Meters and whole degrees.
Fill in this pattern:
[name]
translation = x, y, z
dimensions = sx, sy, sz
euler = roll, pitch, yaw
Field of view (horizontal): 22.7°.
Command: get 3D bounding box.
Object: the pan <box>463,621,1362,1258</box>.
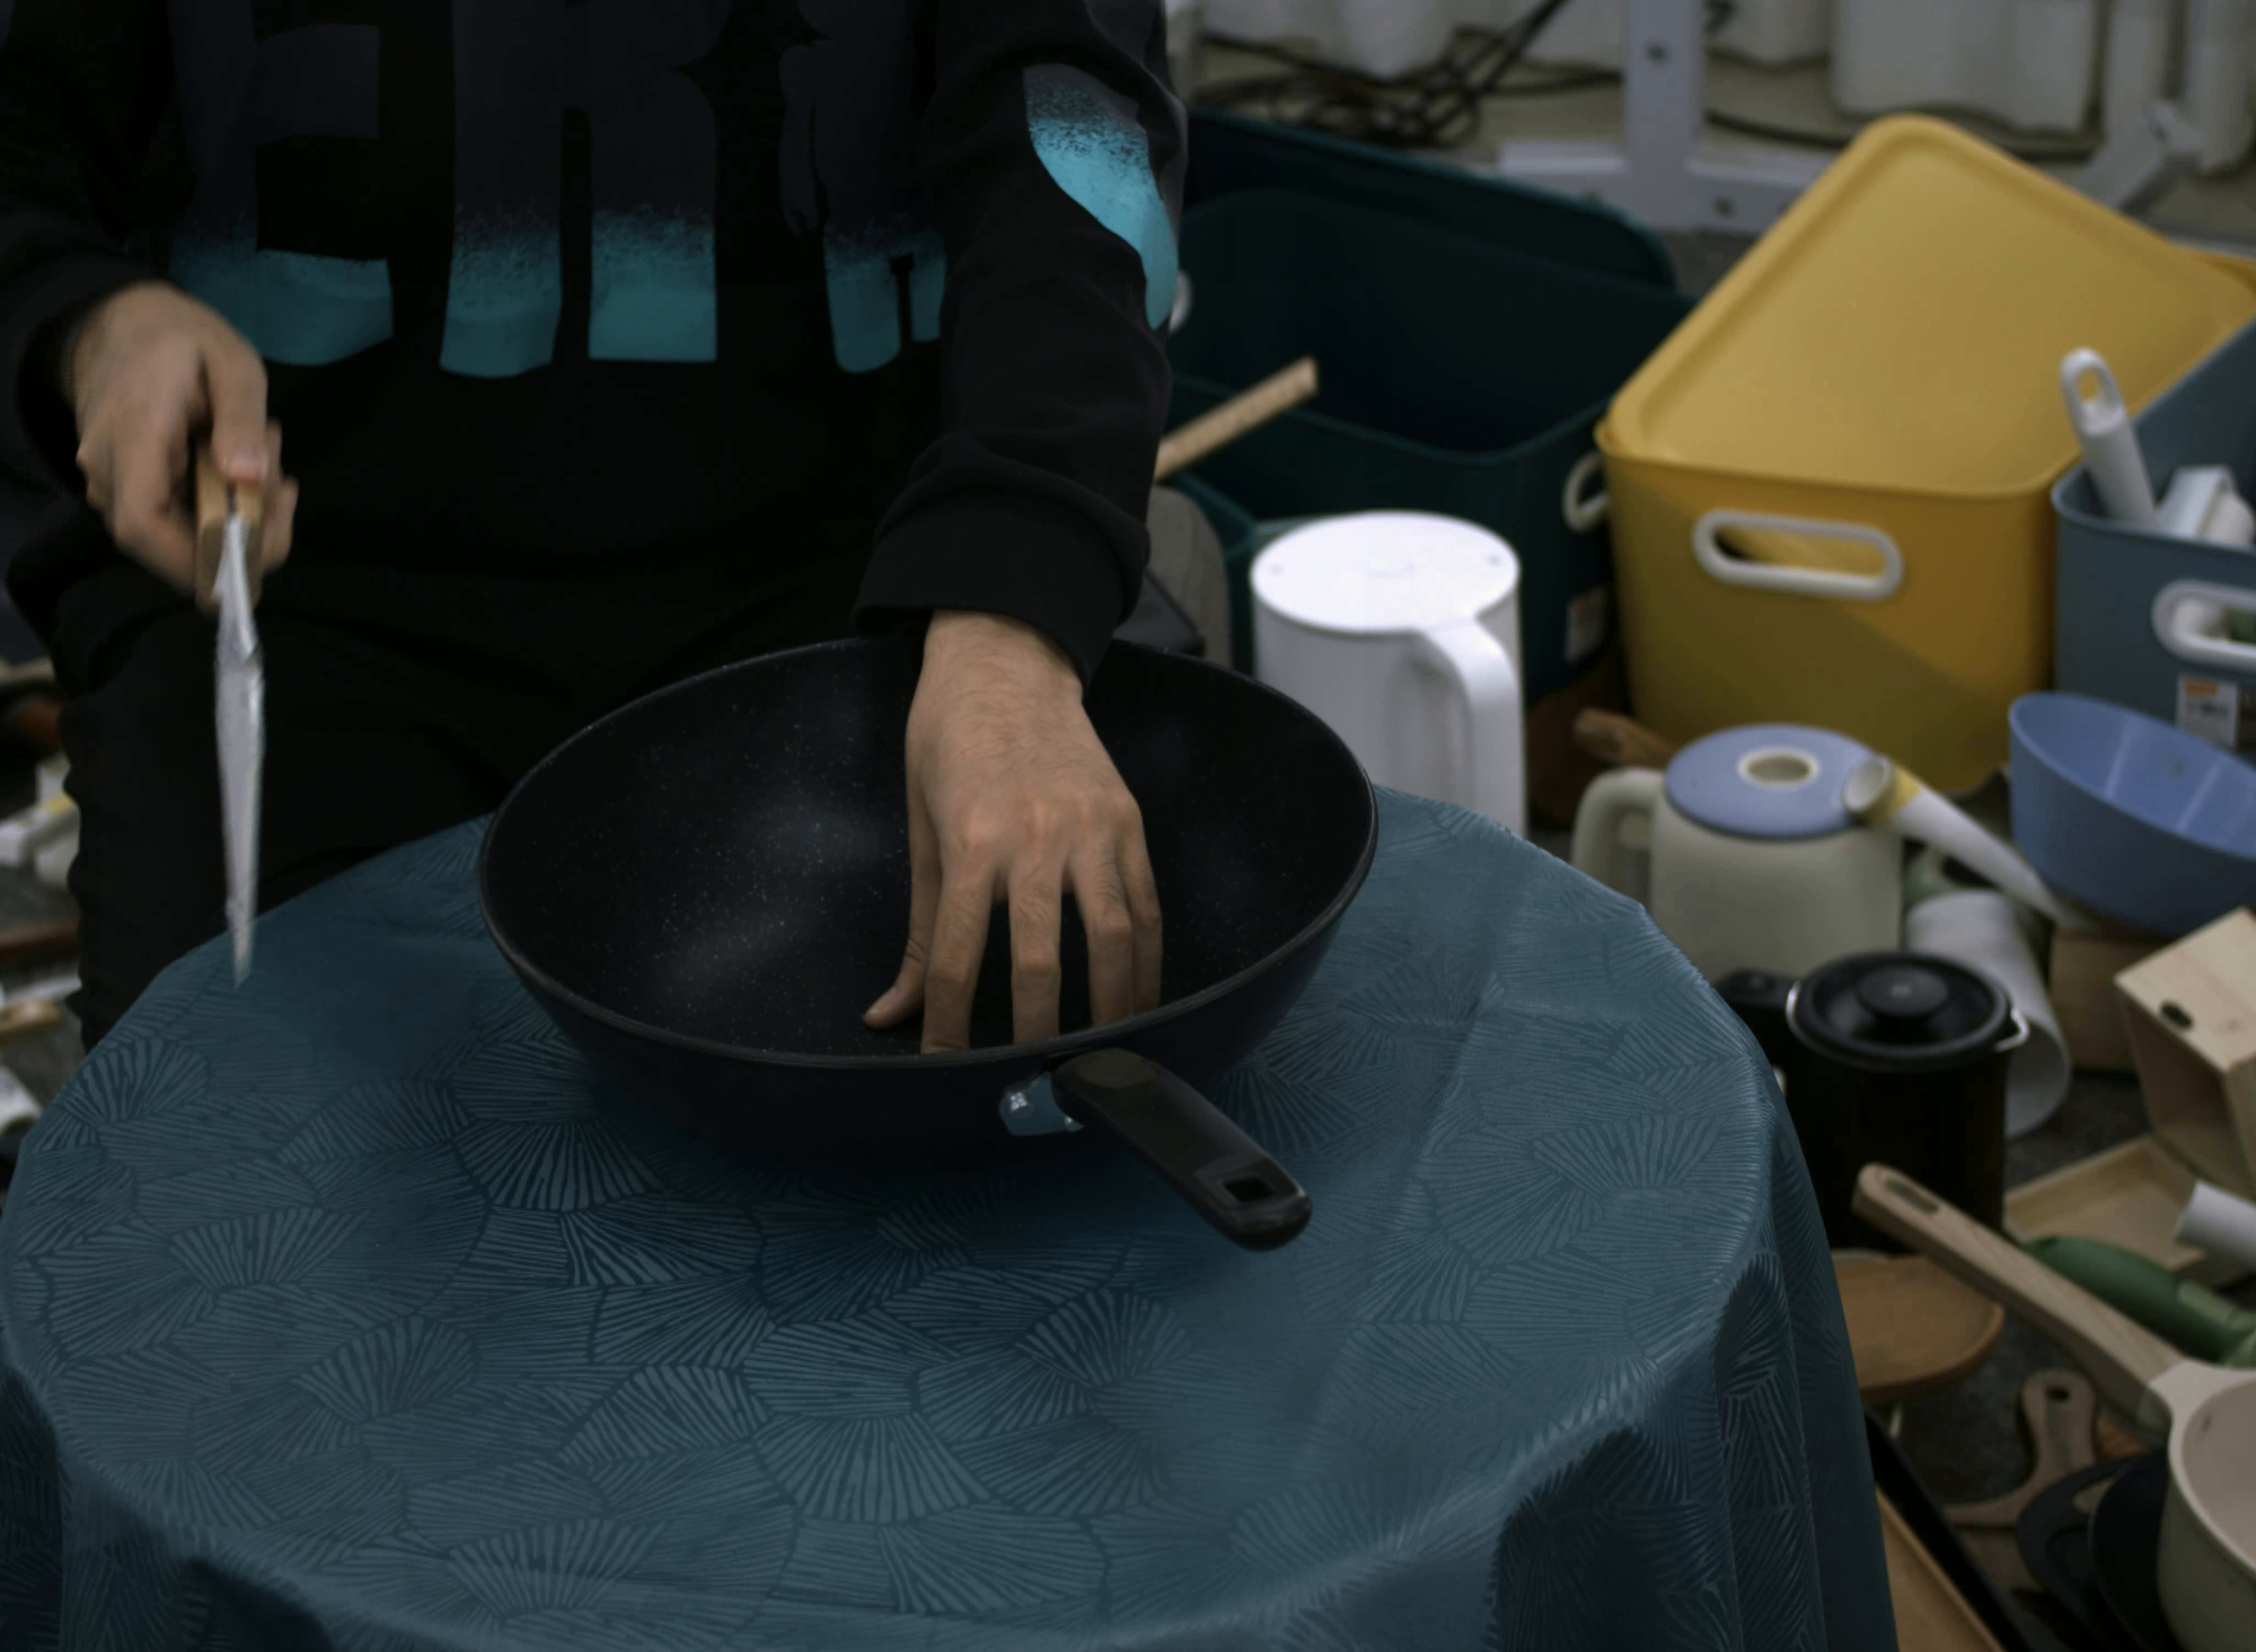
[pan]
translation = -0.042, 0.062, 1.867
dimensions = 0.311, 0.110, 0.481
euler = -14, 30, -17

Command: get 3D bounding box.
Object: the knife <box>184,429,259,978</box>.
[knife]
translation = -0.300, -0.057, 1.871
dimensions = 0.021, 0.112, 0.319
euler = 3, 27, -12
